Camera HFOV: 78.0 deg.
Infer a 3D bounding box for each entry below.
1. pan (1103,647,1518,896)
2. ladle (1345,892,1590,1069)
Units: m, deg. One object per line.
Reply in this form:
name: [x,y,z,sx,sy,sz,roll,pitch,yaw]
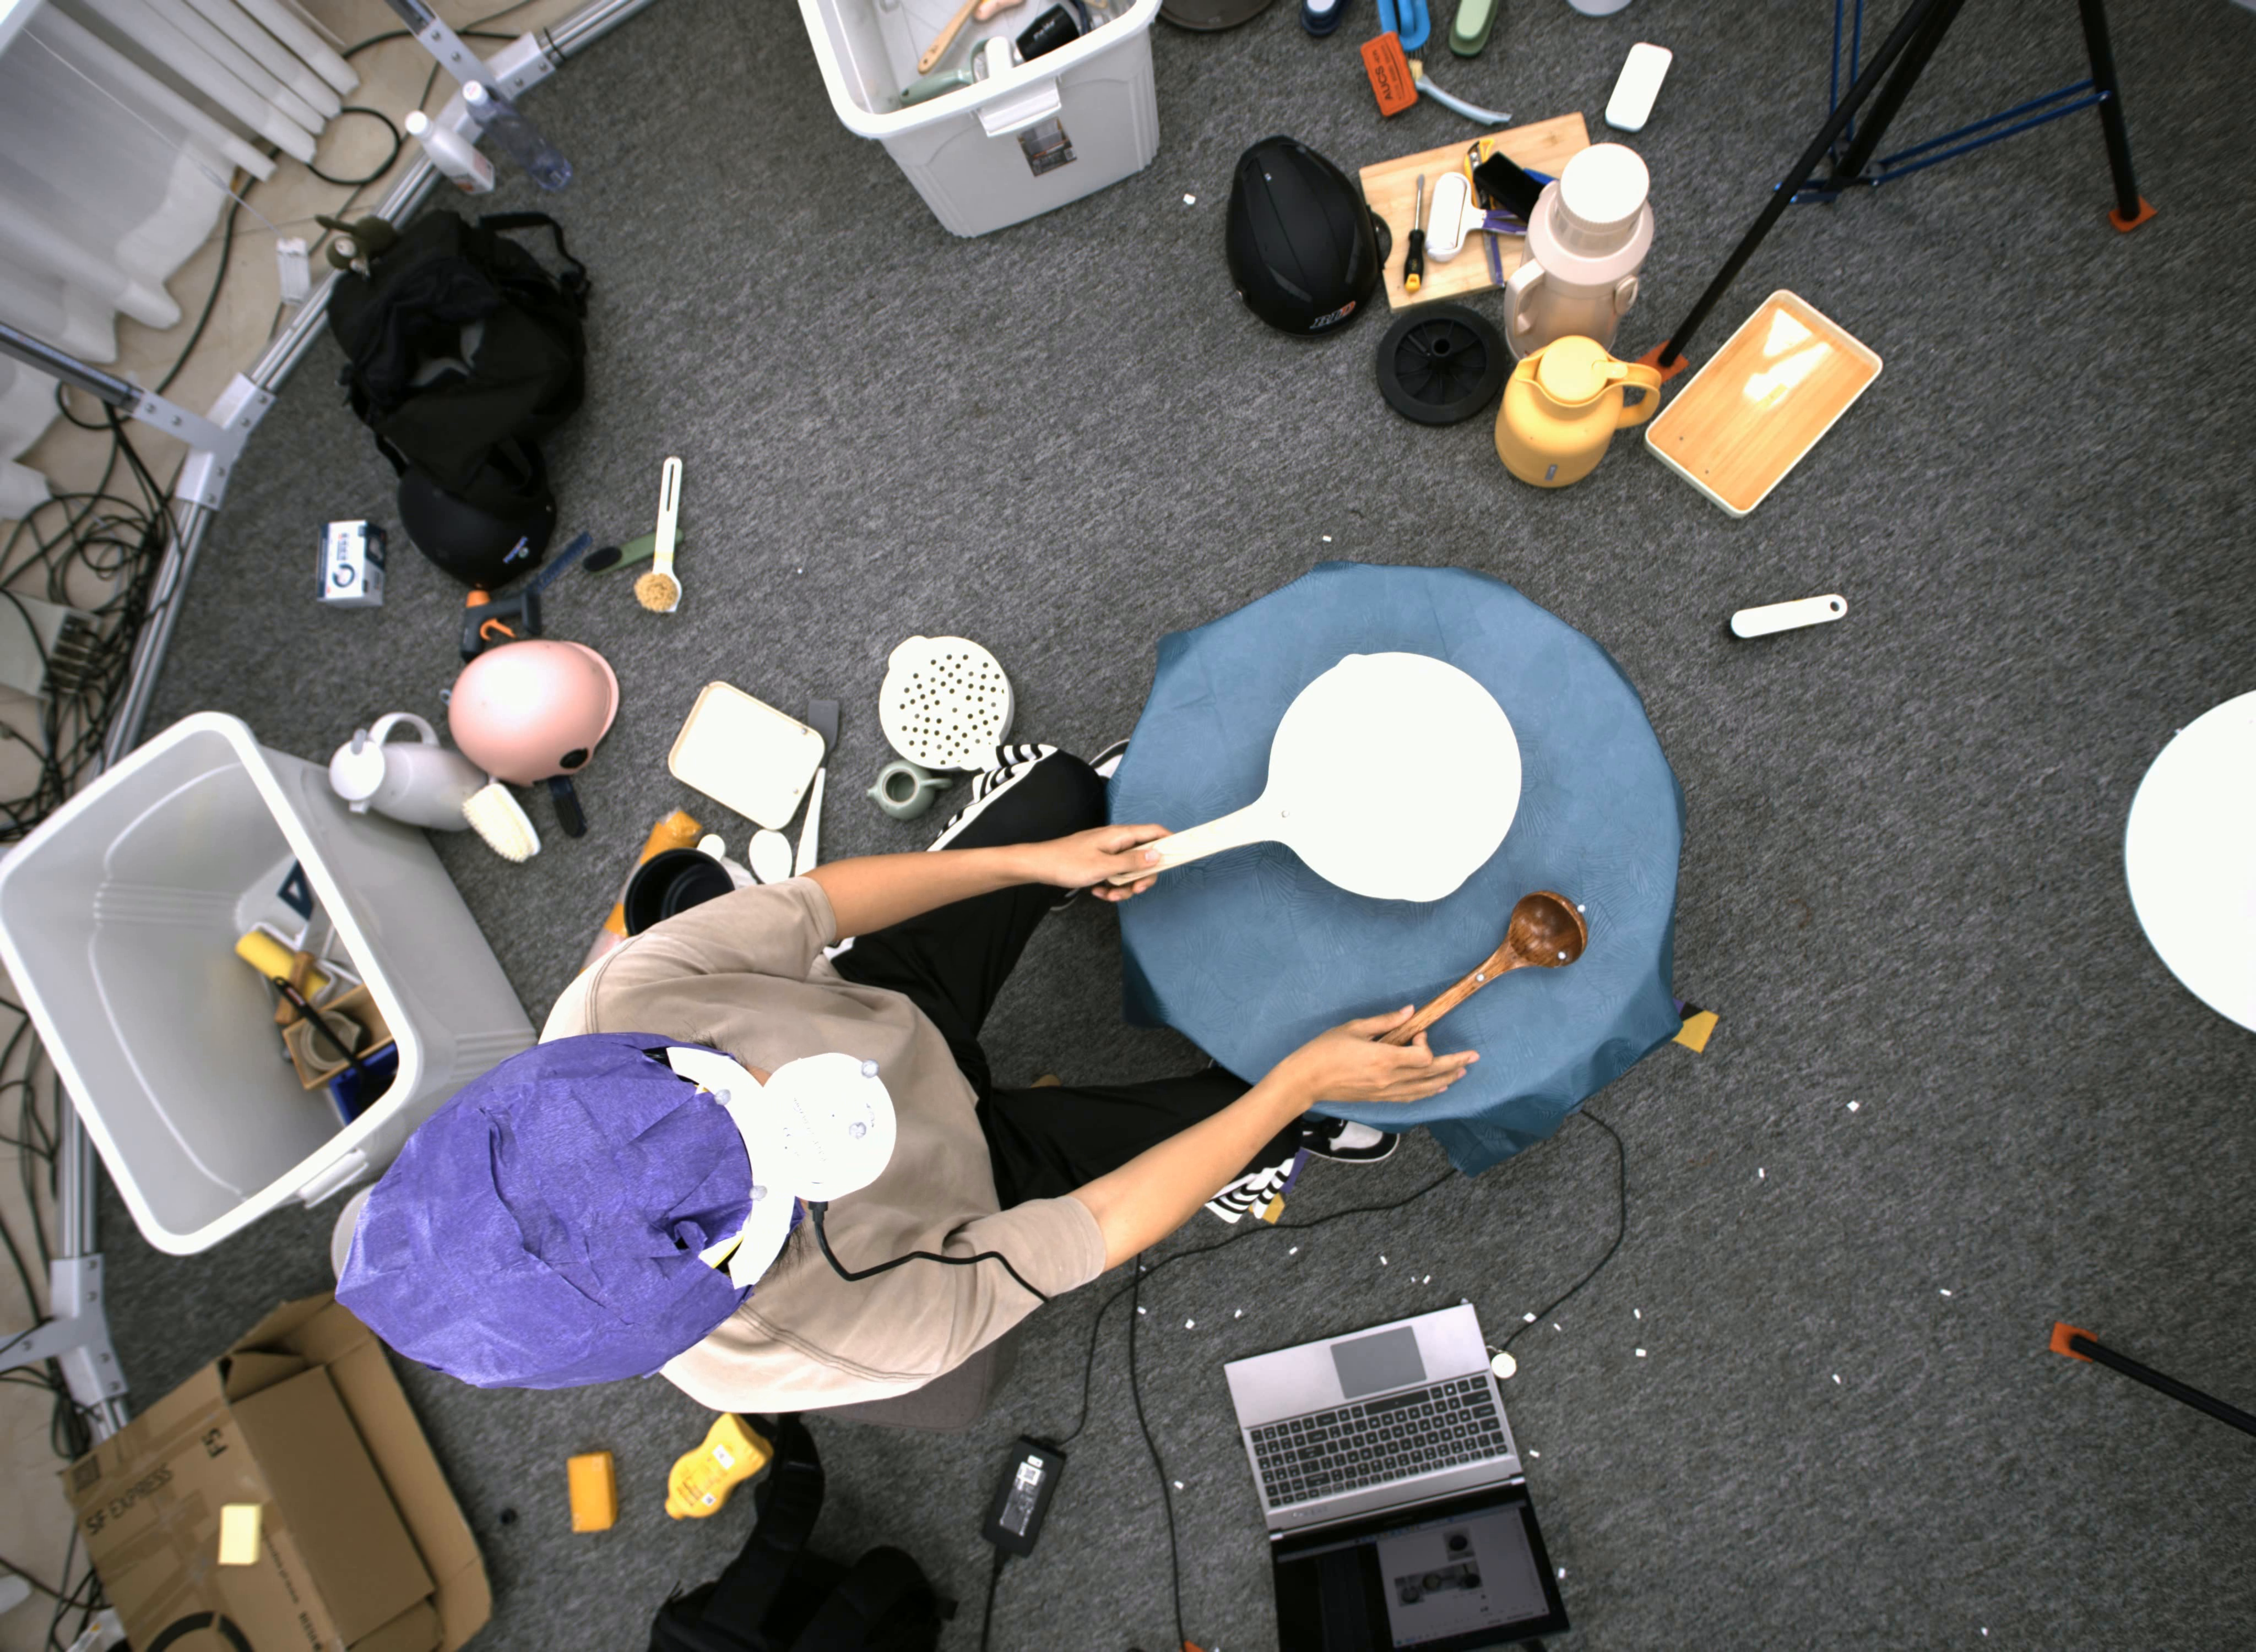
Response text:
pan: [0.184,-0.023,1.432,0.437,0.102,0.262,-21,84,9]
ladle: [0.339,0.161,1.382,0.274,0.077,0.081,-34,77,1]
